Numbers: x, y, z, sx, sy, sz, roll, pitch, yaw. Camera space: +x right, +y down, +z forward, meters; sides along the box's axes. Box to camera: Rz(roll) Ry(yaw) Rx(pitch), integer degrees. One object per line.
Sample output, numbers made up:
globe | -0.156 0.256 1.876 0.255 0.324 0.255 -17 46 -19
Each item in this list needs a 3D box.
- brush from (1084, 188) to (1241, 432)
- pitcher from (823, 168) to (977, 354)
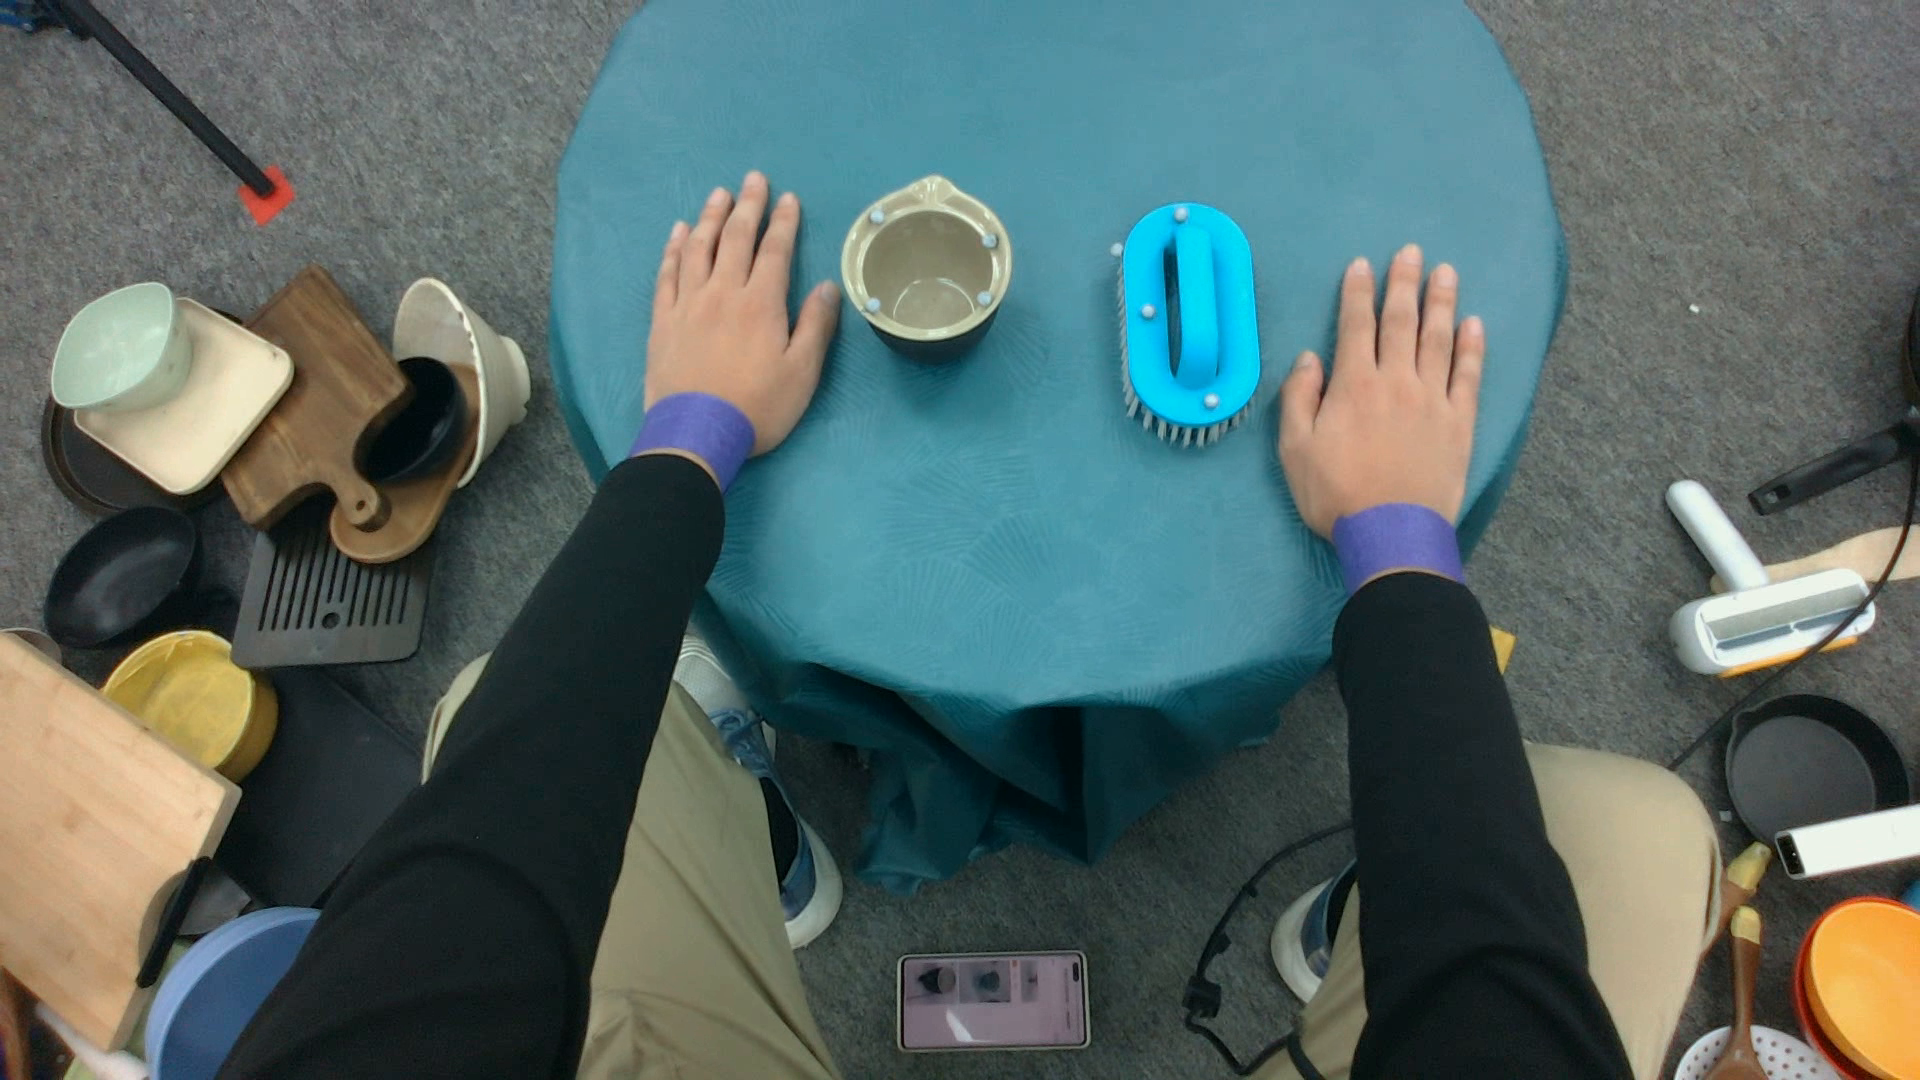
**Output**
brush | 0.116 -0.136 0.769 0.084 0.063 0.142 1 72 -3
pitcher | -0.031 -0.149 0.772 0.083 0.071 0.096 8 70 6
